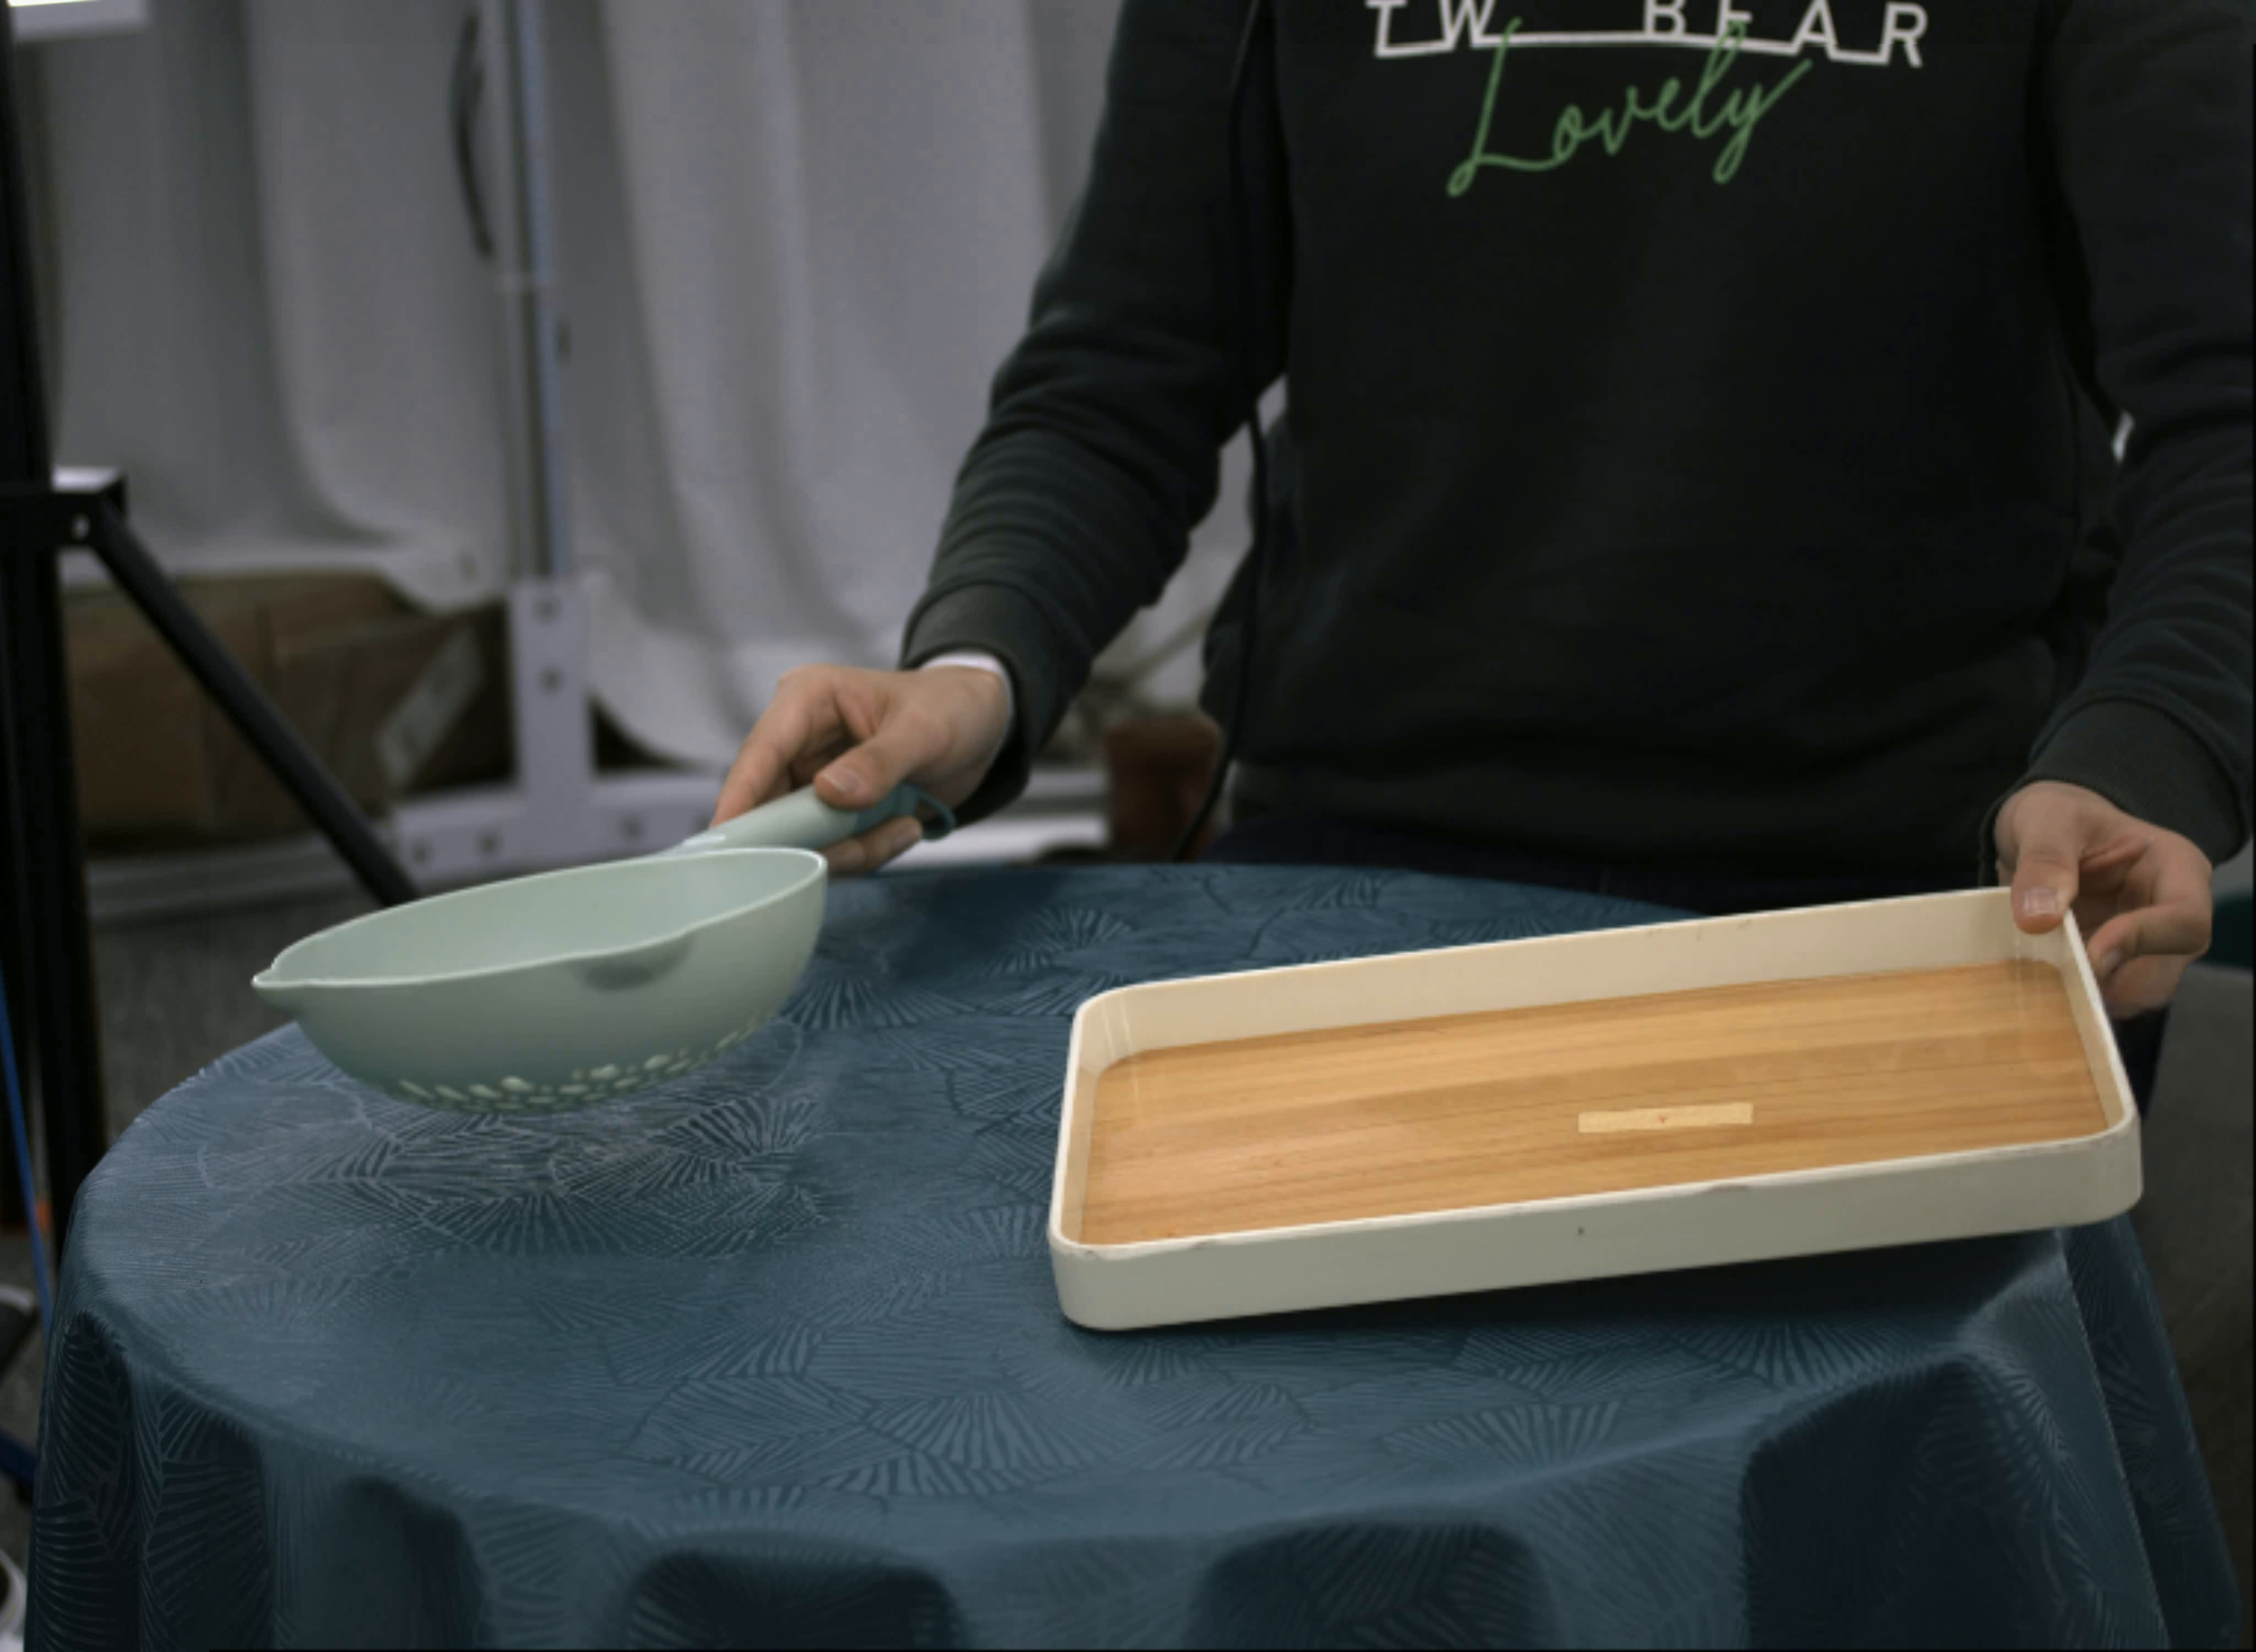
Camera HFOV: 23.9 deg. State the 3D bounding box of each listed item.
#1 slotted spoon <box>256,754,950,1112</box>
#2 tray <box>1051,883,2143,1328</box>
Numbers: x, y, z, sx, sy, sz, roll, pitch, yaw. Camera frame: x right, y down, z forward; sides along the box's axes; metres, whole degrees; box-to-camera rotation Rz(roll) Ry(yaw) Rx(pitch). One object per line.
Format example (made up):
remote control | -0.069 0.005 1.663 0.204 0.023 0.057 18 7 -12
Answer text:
slotted spoon | -0.135 0.018 1.685 0.171 0.075 0.355 -6 17 23
tray | 0.131 0.078 1.511 0.300 0.027 0.192 -7 20 7
